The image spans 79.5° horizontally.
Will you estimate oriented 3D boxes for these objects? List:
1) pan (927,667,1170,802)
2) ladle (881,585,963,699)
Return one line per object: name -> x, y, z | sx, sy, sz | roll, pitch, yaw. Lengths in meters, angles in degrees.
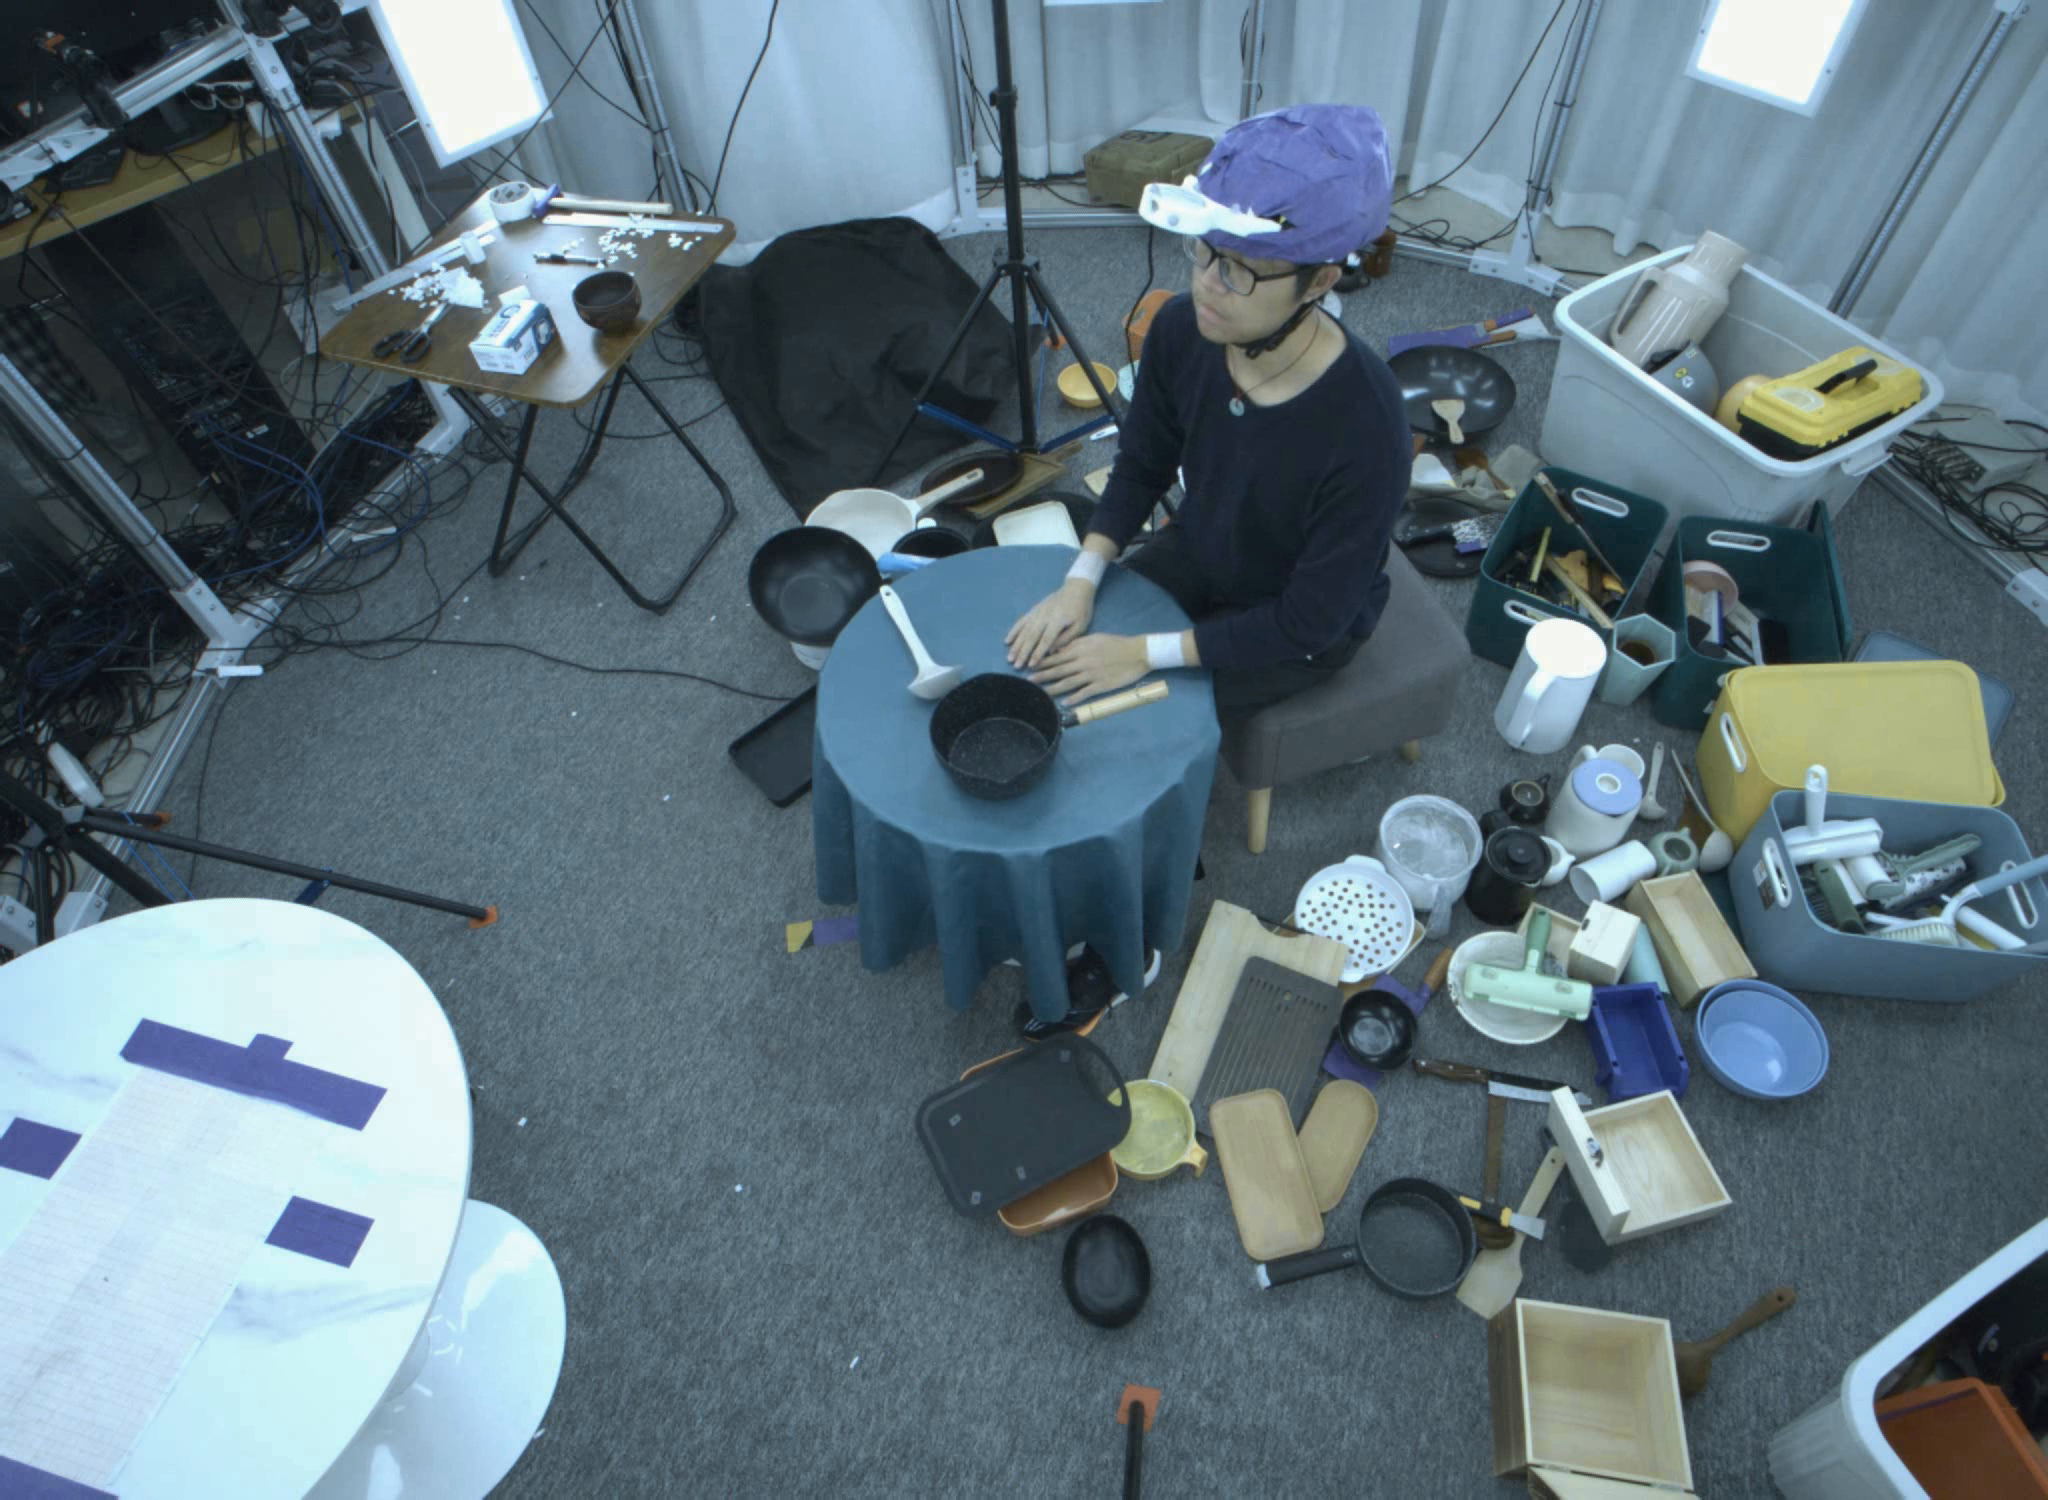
pan -> 0.038, -0.033, 1.743 | 0.344, 0.109, 0.204 | -11, 54, -4
ladle -> -0.176, -0.185, 1.883 | 0.090, 0.070, 0.270 | -25, 57, -7
